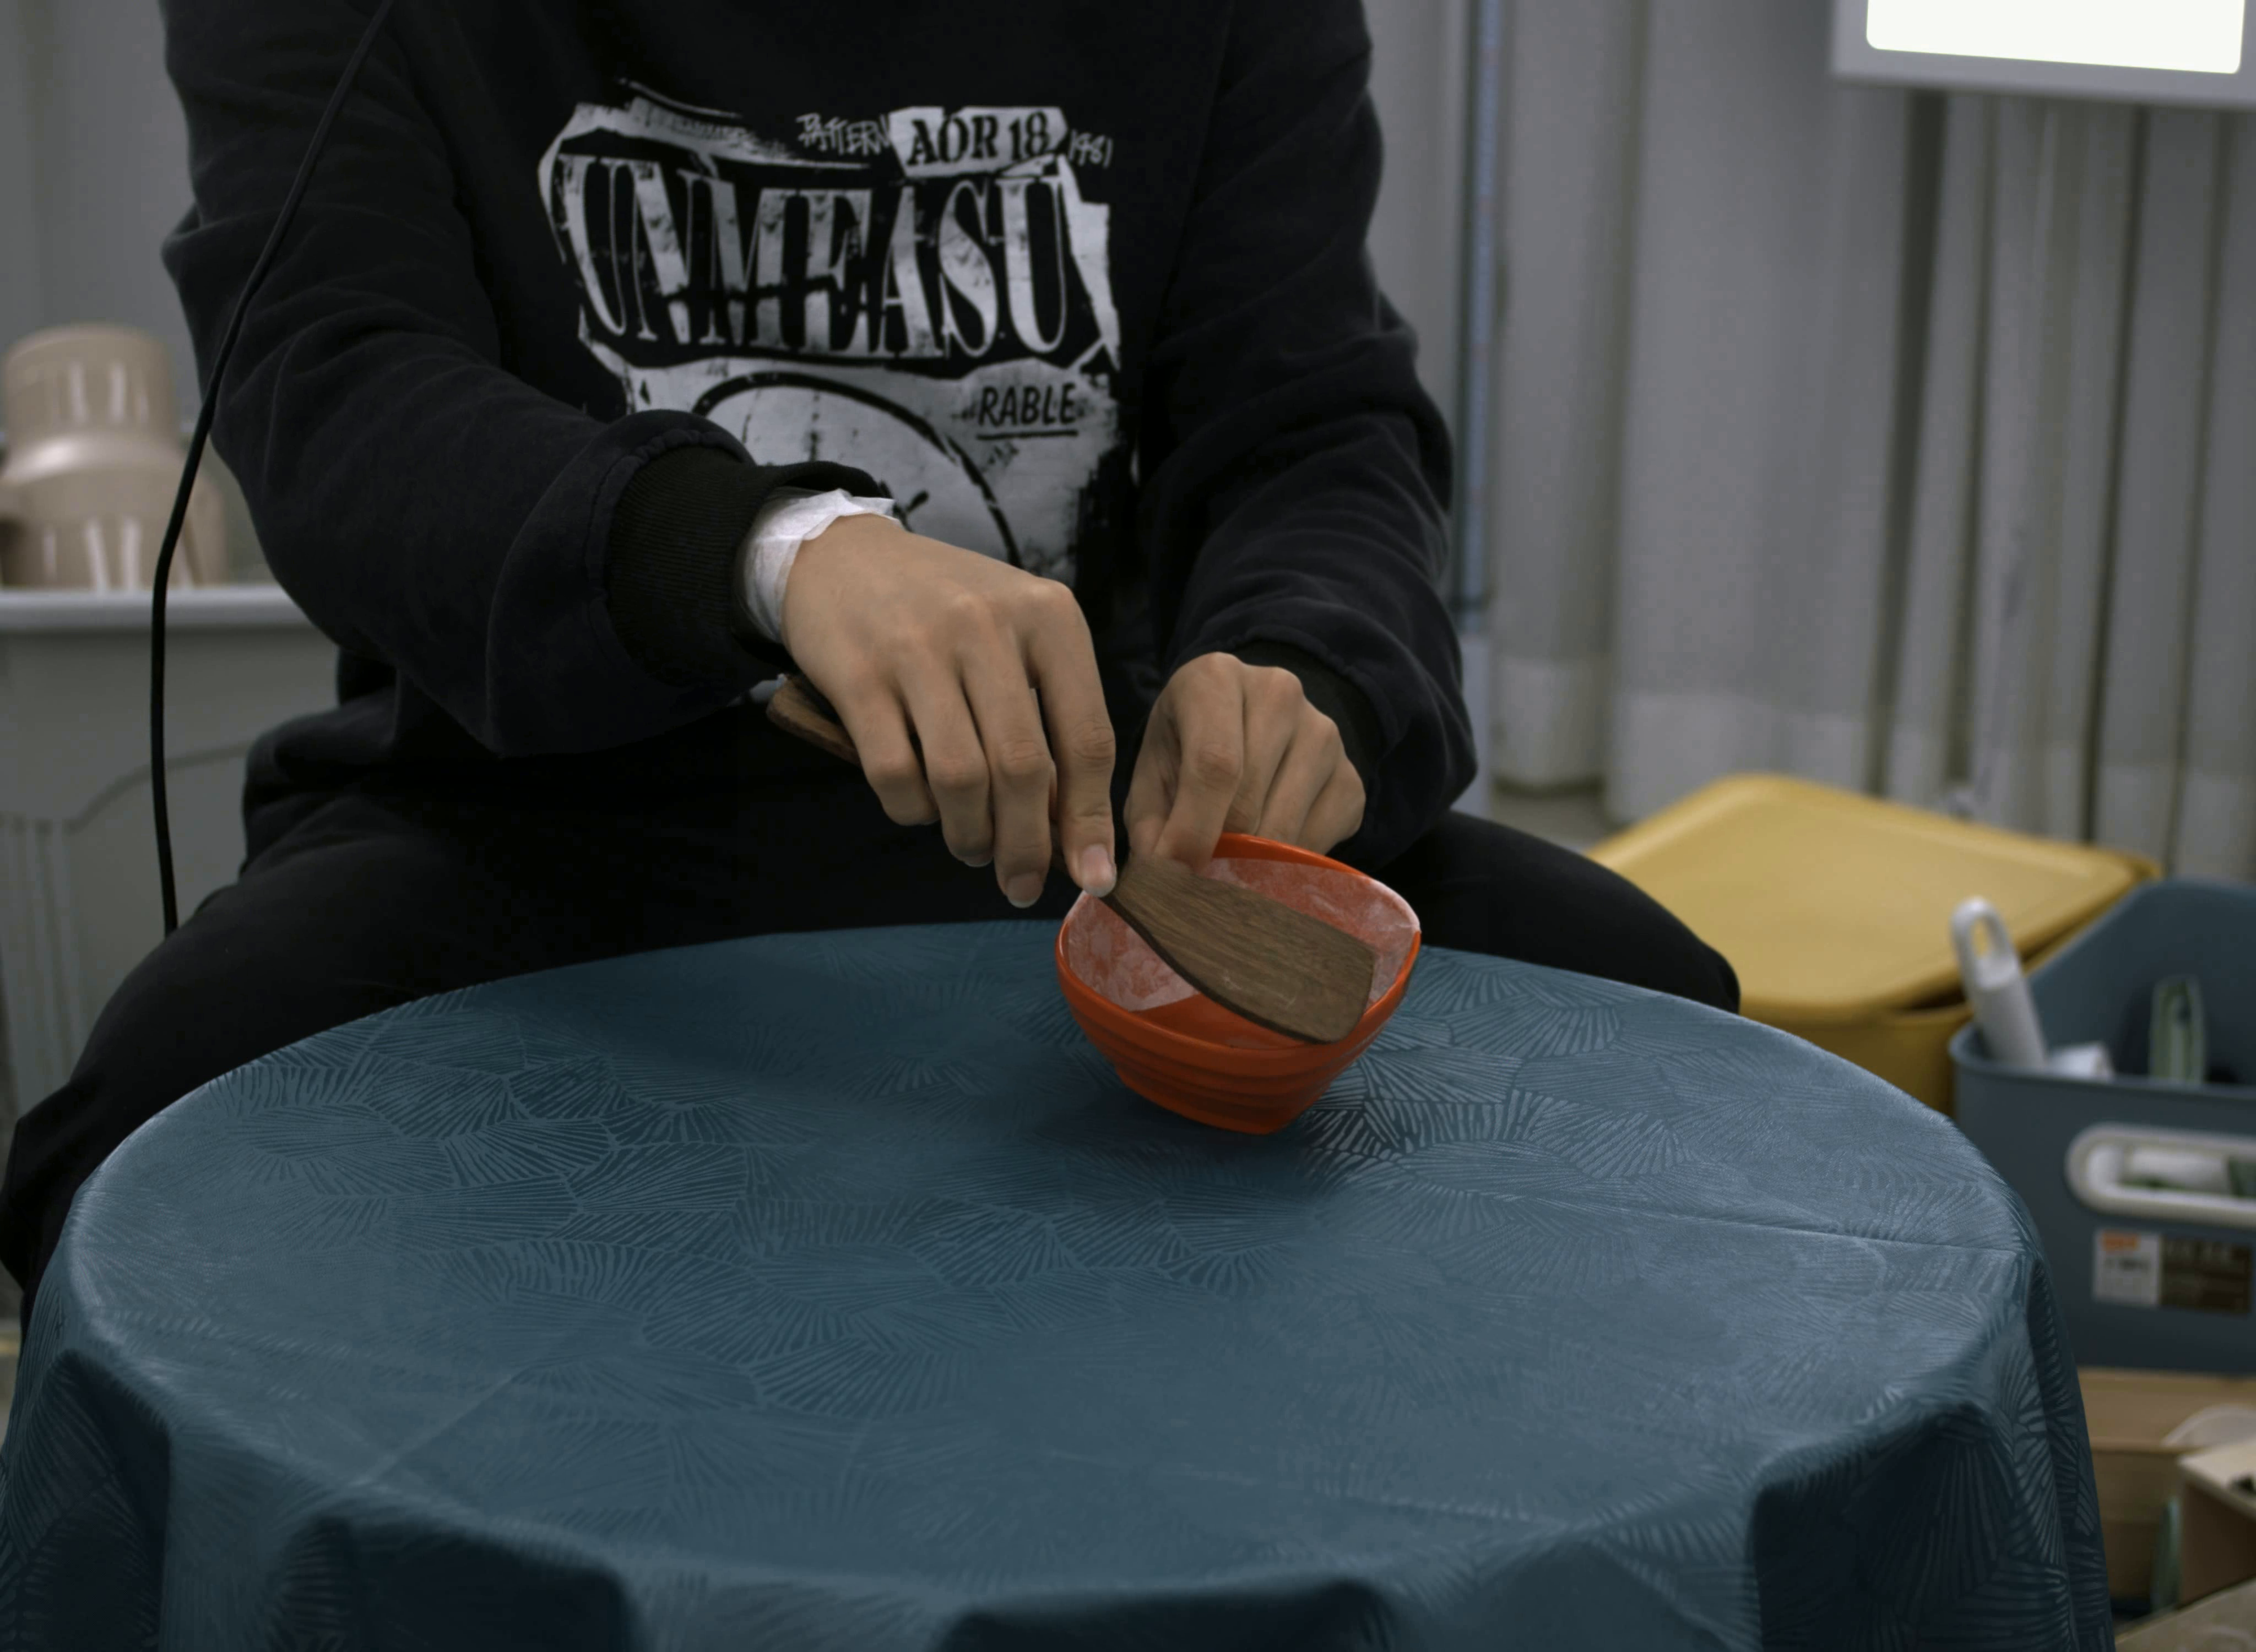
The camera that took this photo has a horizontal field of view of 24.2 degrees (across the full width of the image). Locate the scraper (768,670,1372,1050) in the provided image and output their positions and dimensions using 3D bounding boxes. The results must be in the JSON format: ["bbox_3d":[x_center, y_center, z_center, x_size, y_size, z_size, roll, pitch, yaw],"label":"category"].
[{"bbox_3d":[-0.019,0.007,1.650,0.211,0.011,0.075,29,30,-3],"label":"scraper"}]

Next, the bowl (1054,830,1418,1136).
[{"bbox_3d":[0.034,0.056,1.695,0.118,0.052,0.118,2,38,-1],"label":"bowl"}]
